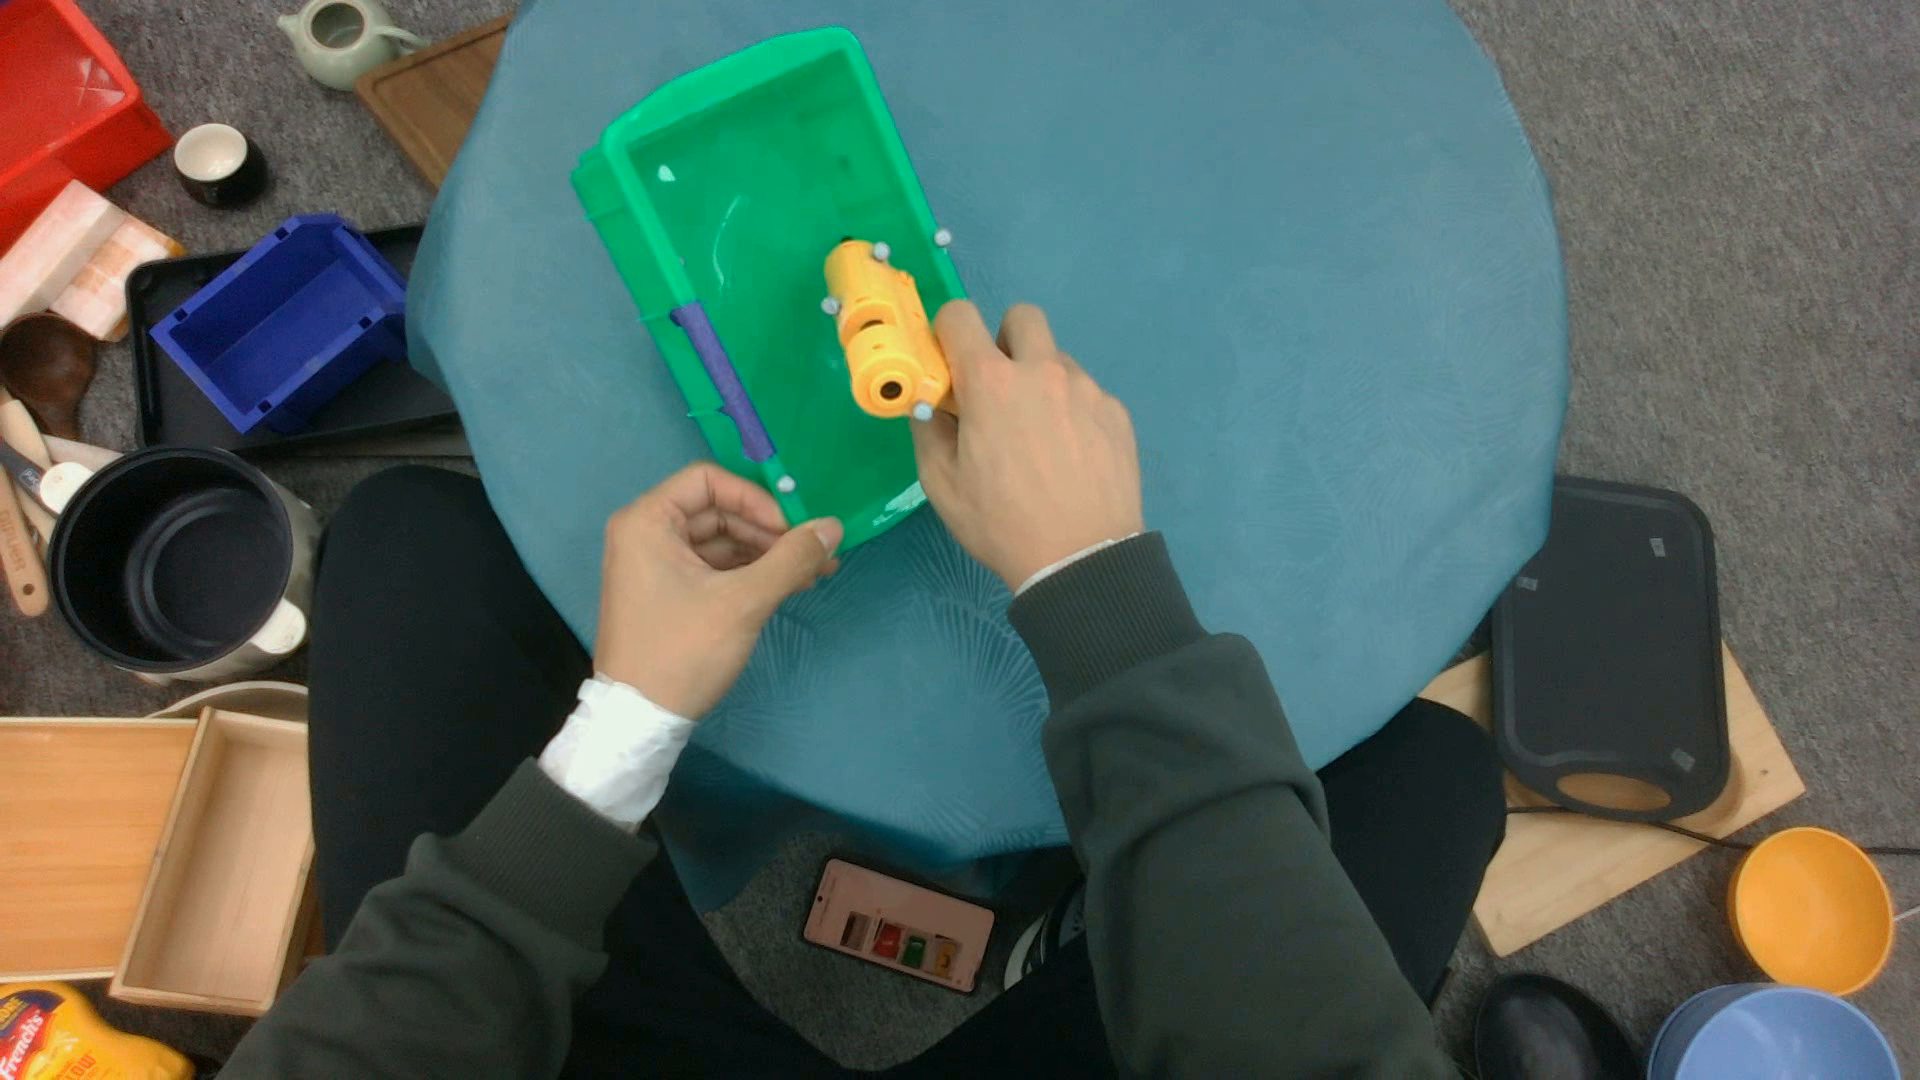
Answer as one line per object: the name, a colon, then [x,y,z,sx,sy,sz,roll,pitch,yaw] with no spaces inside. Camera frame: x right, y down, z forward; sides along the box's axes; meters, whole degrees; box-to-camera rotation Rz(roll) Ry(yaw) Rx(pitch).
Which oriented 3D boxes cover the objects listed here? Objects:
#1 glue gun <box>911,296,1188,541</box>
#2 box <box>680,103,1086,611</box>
glue gun: [0.034,-0.066,0.652,0.133,0.031,0.152,20,30,-26]
box: [-0.033,-0.085,0.650,0.139,0.065,0.210,-34,111,-28]
